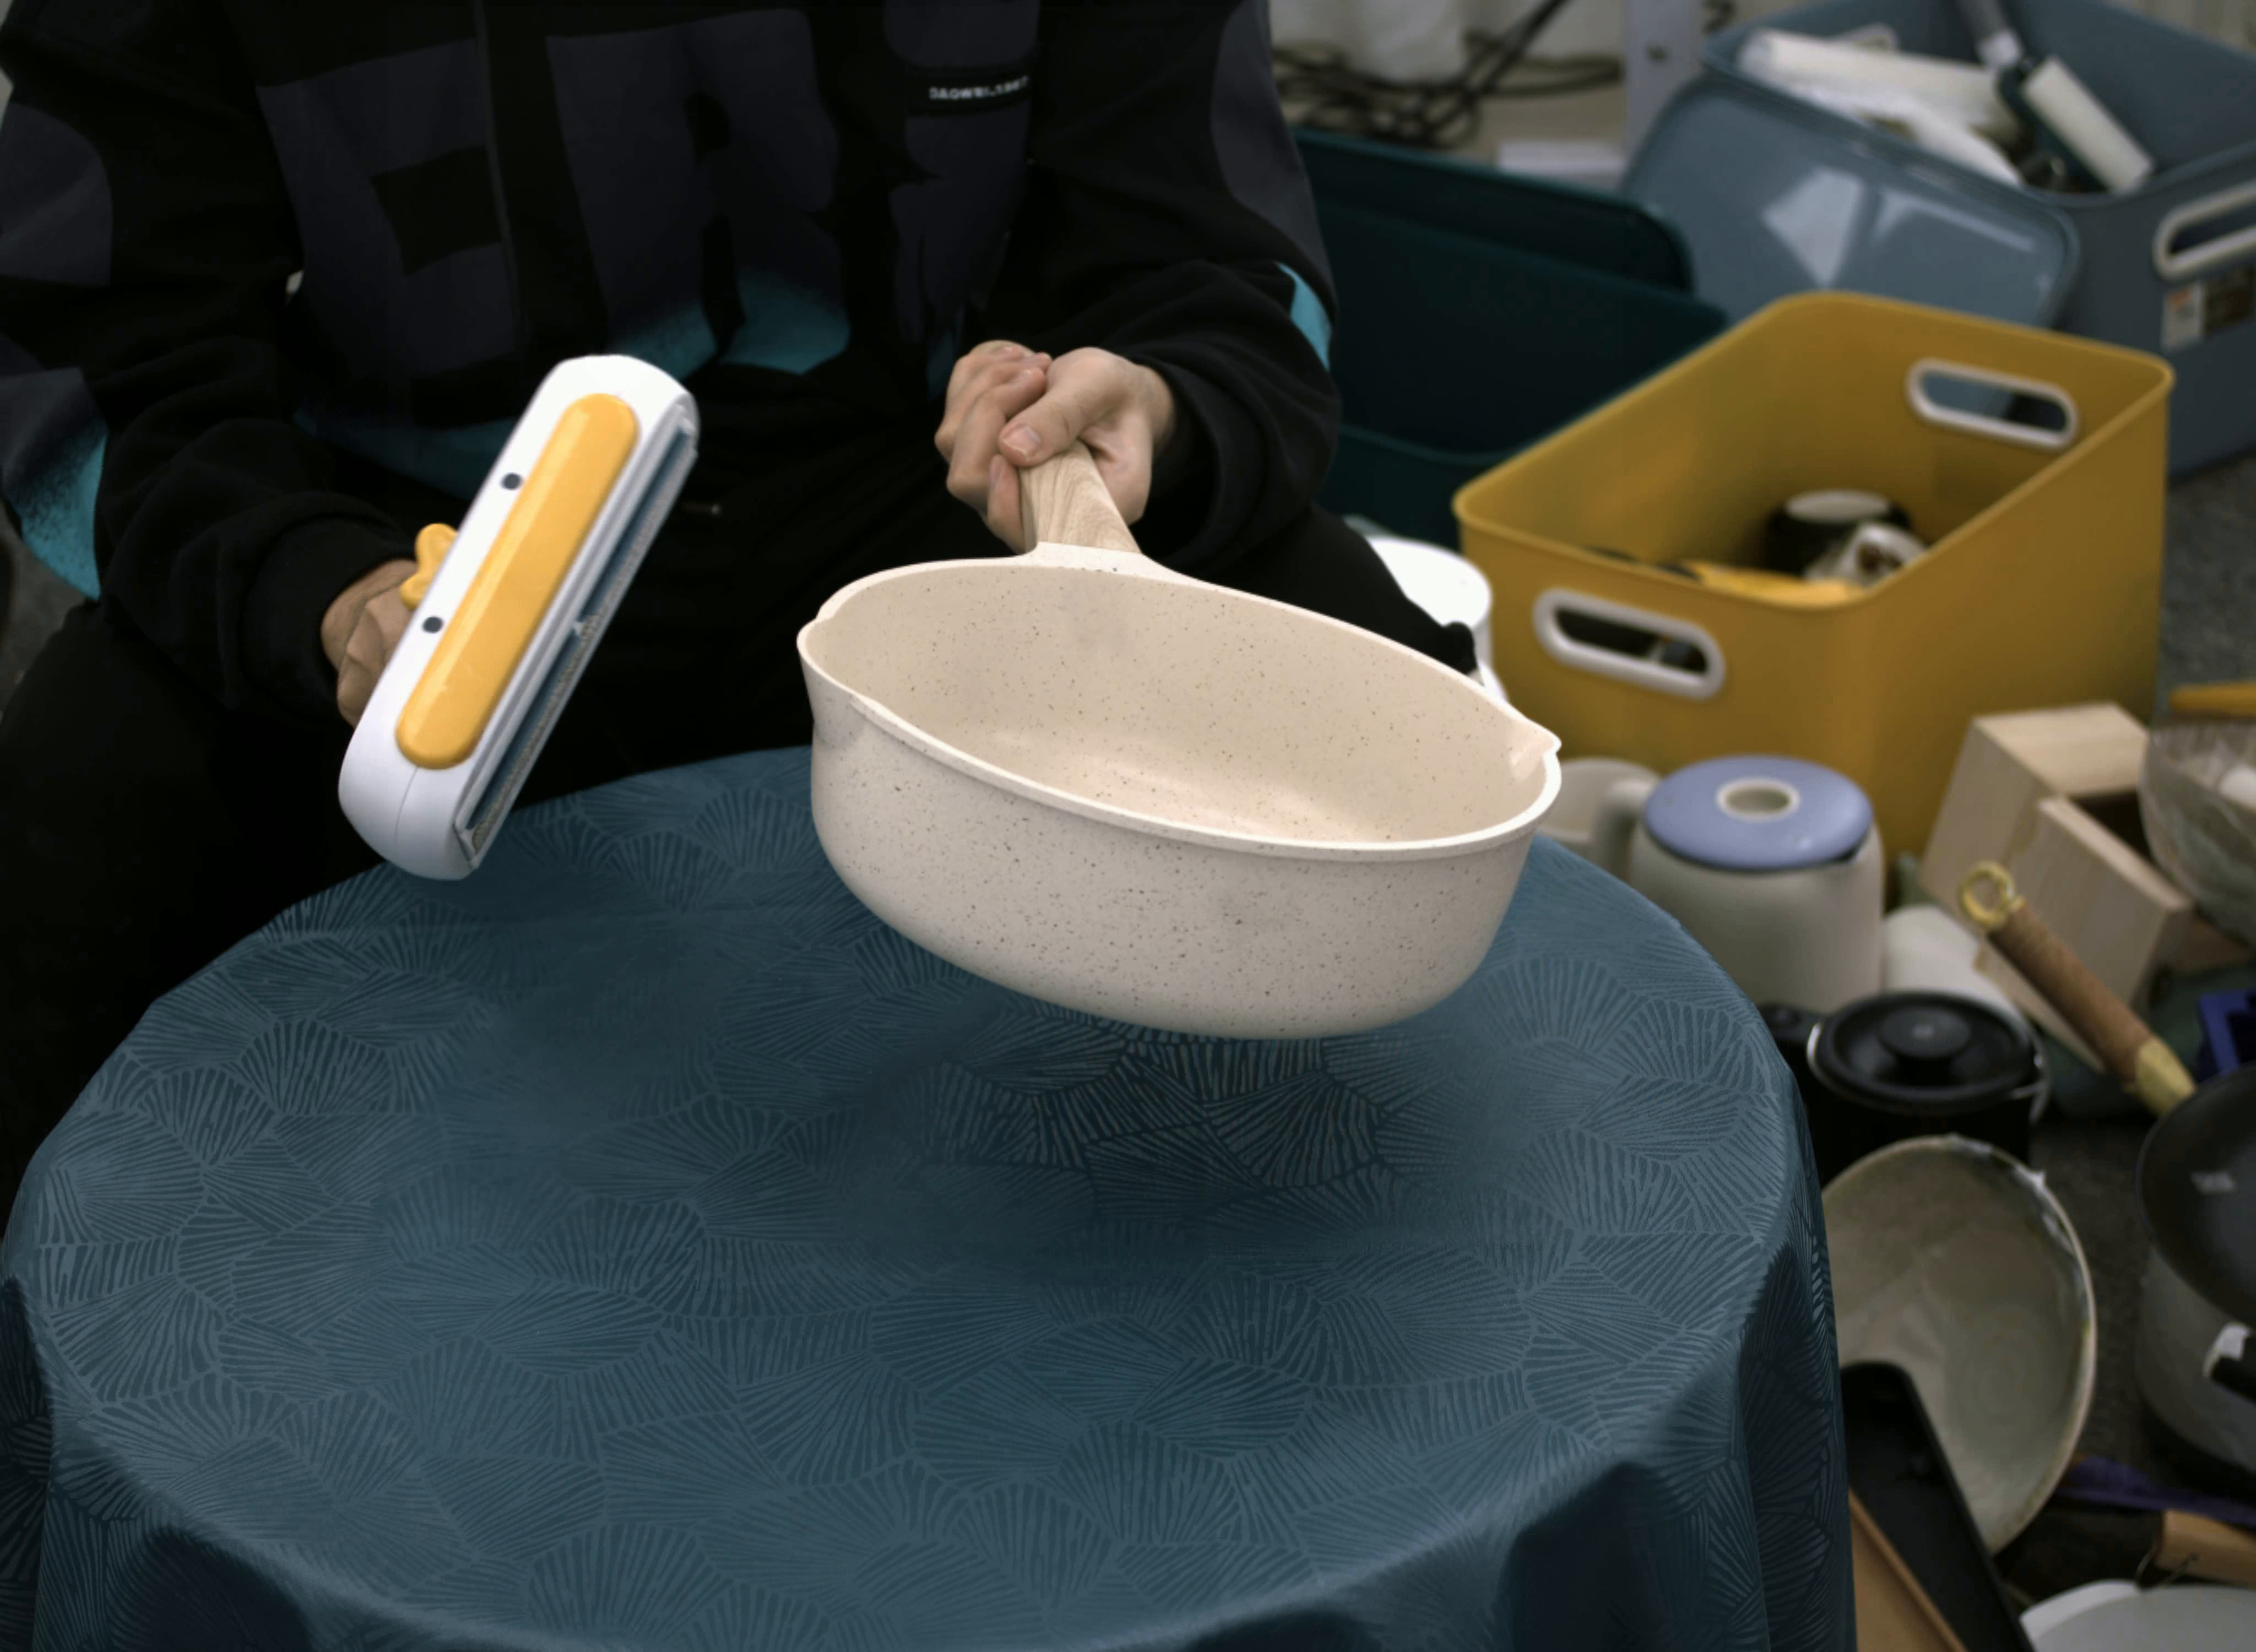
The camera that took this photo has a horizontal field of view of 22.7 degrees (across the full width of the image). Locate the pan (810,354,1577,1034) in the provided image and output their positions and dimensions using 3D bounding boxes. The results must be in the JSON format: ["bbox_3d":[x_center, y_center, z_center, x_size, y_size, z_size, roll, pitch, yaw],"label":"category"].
[{"bbox_3d":[-0.004,-0.048,1.939,0.263,0.101,0.439,4,21,-17],"label":"pan"}]

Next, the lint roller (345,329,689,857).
[{"bbox_3d":[-0.218,-0.061,1.954,0.074,0.190,0.196,20,67,1],"label":"lint roller"}]
